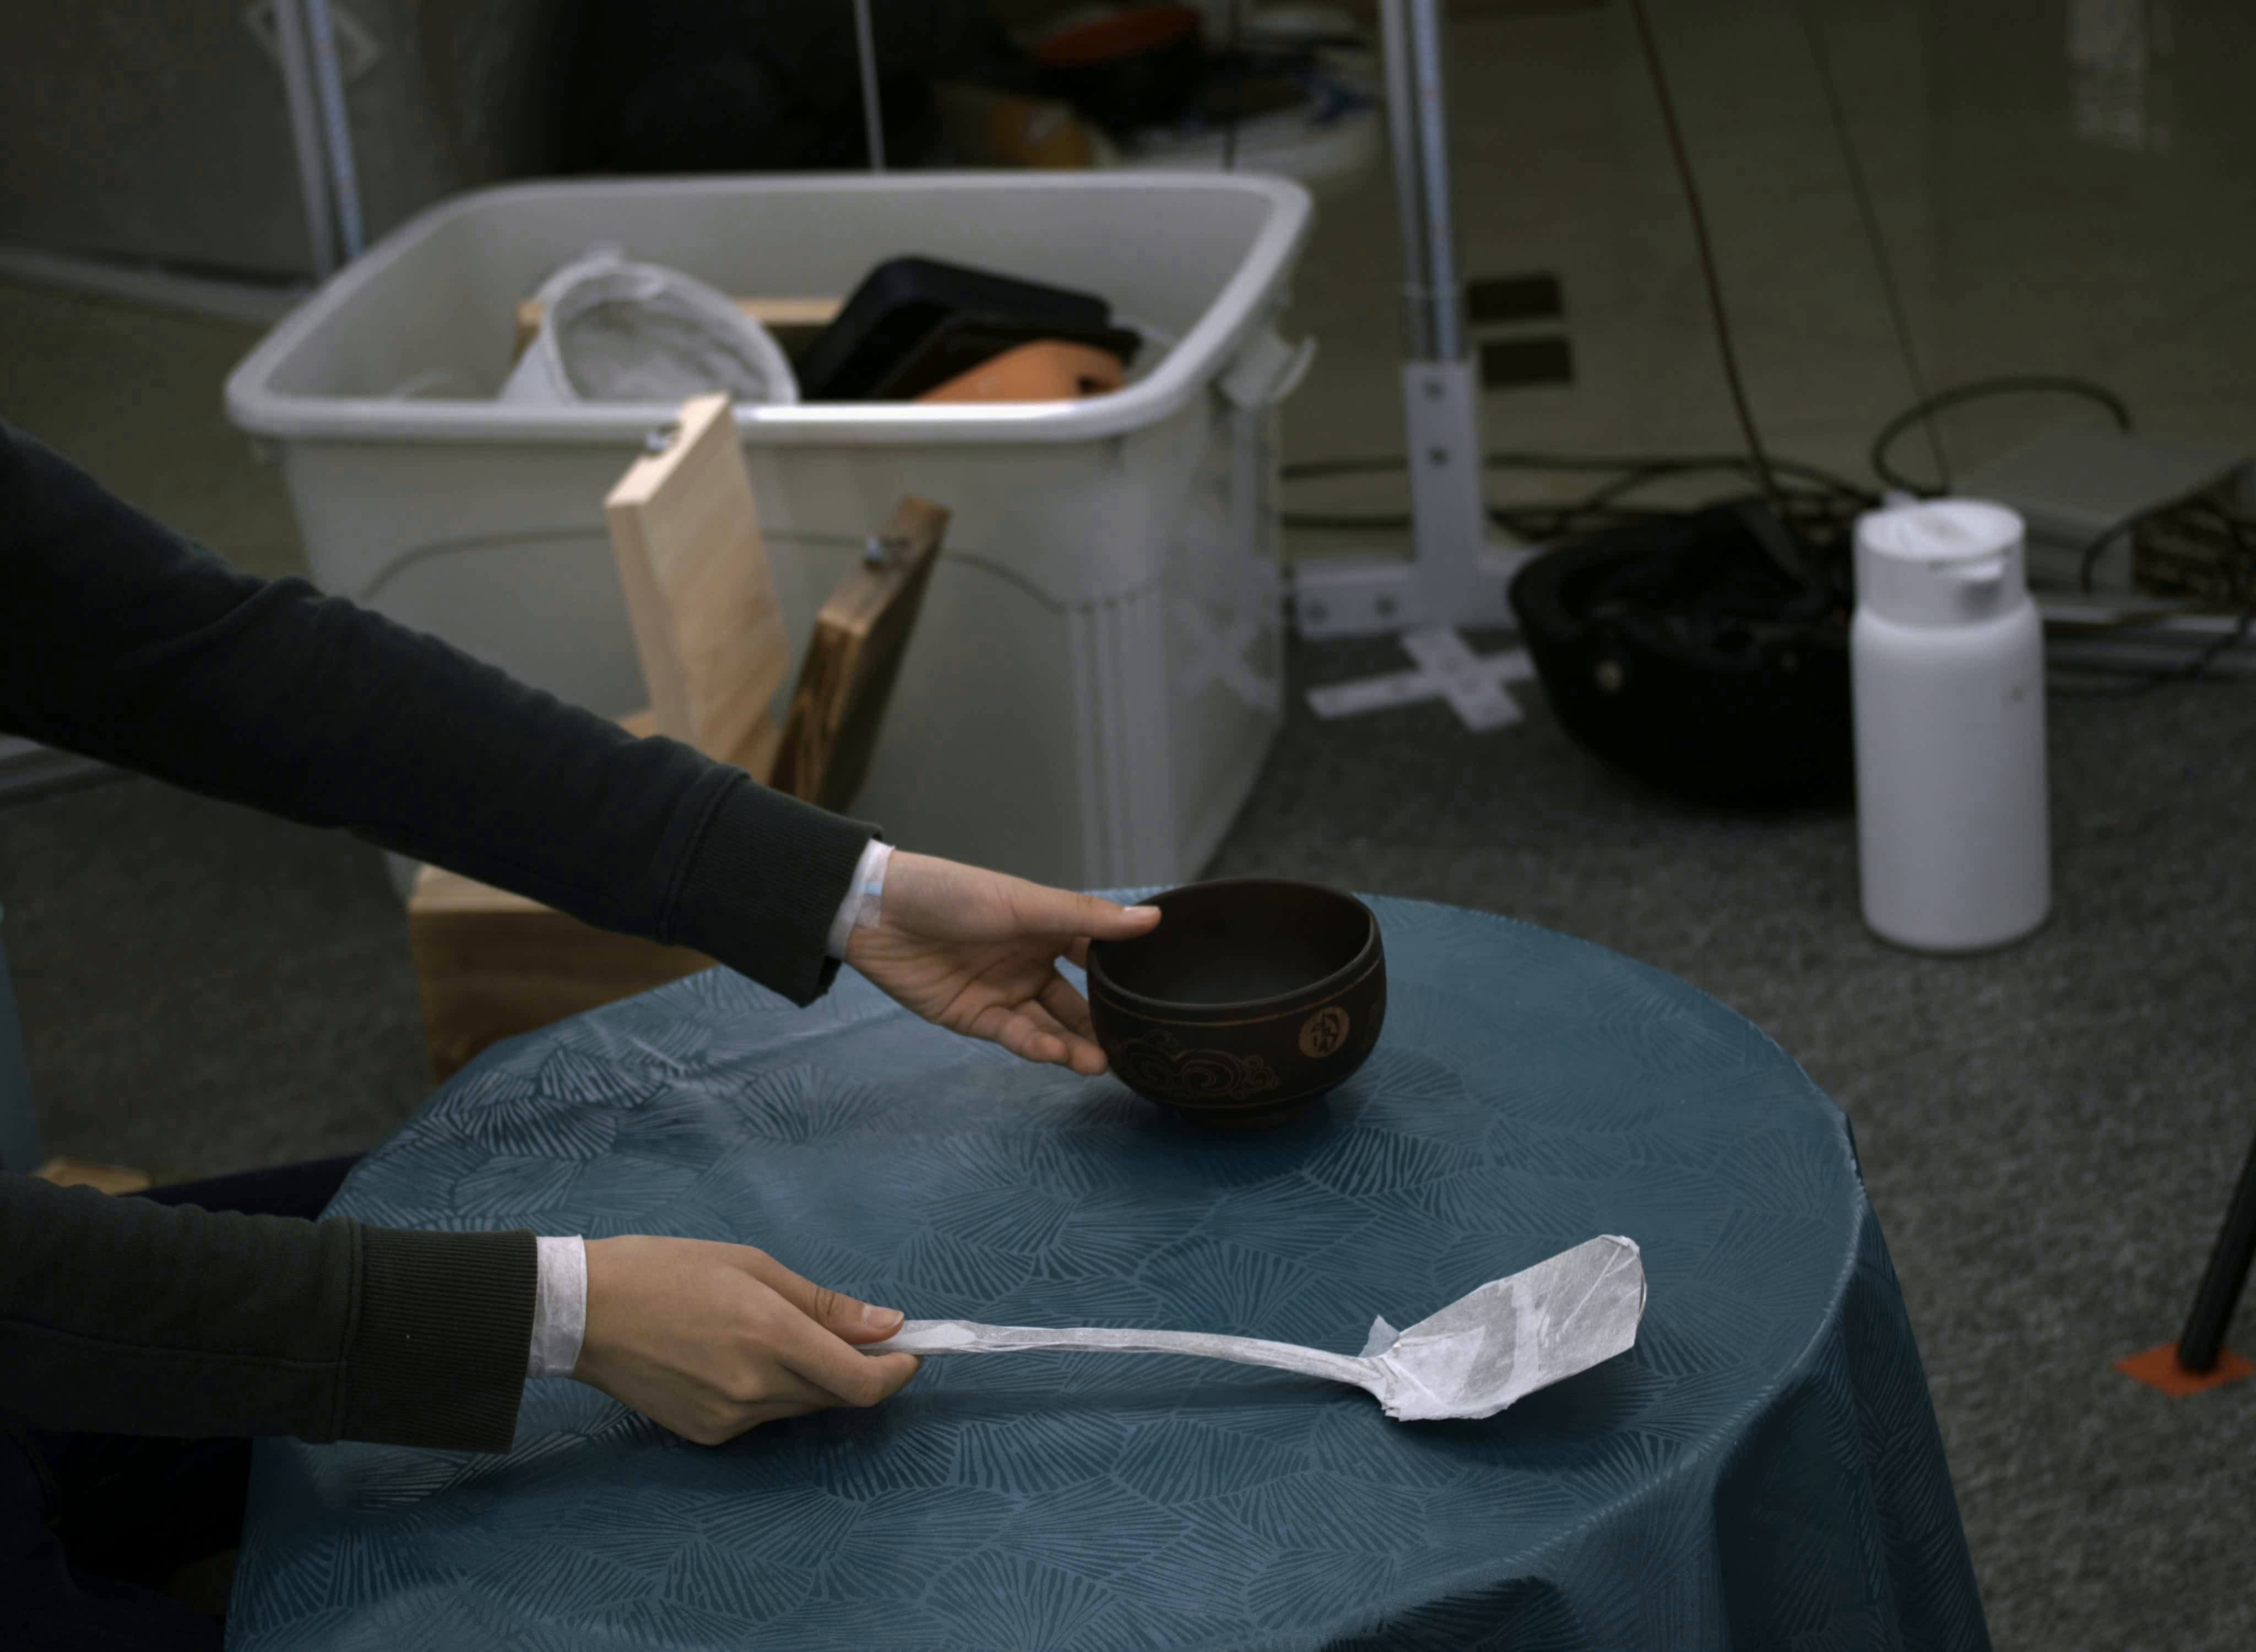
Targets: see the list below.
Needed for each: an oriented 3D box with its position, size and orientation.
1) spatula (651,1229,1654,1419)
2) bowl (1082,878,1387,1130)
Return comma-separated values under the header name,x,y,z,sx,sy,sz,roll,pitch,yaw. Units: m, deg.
name,x,y,z,sx,sy,sz,roll,pitch,yaw
spatula,0.003,0.178,2.011,0.364,0.045,0.097,1,26,9
bowl,0.043,0.075,2.195,0.118,0.071,0.116,-7,24,3
